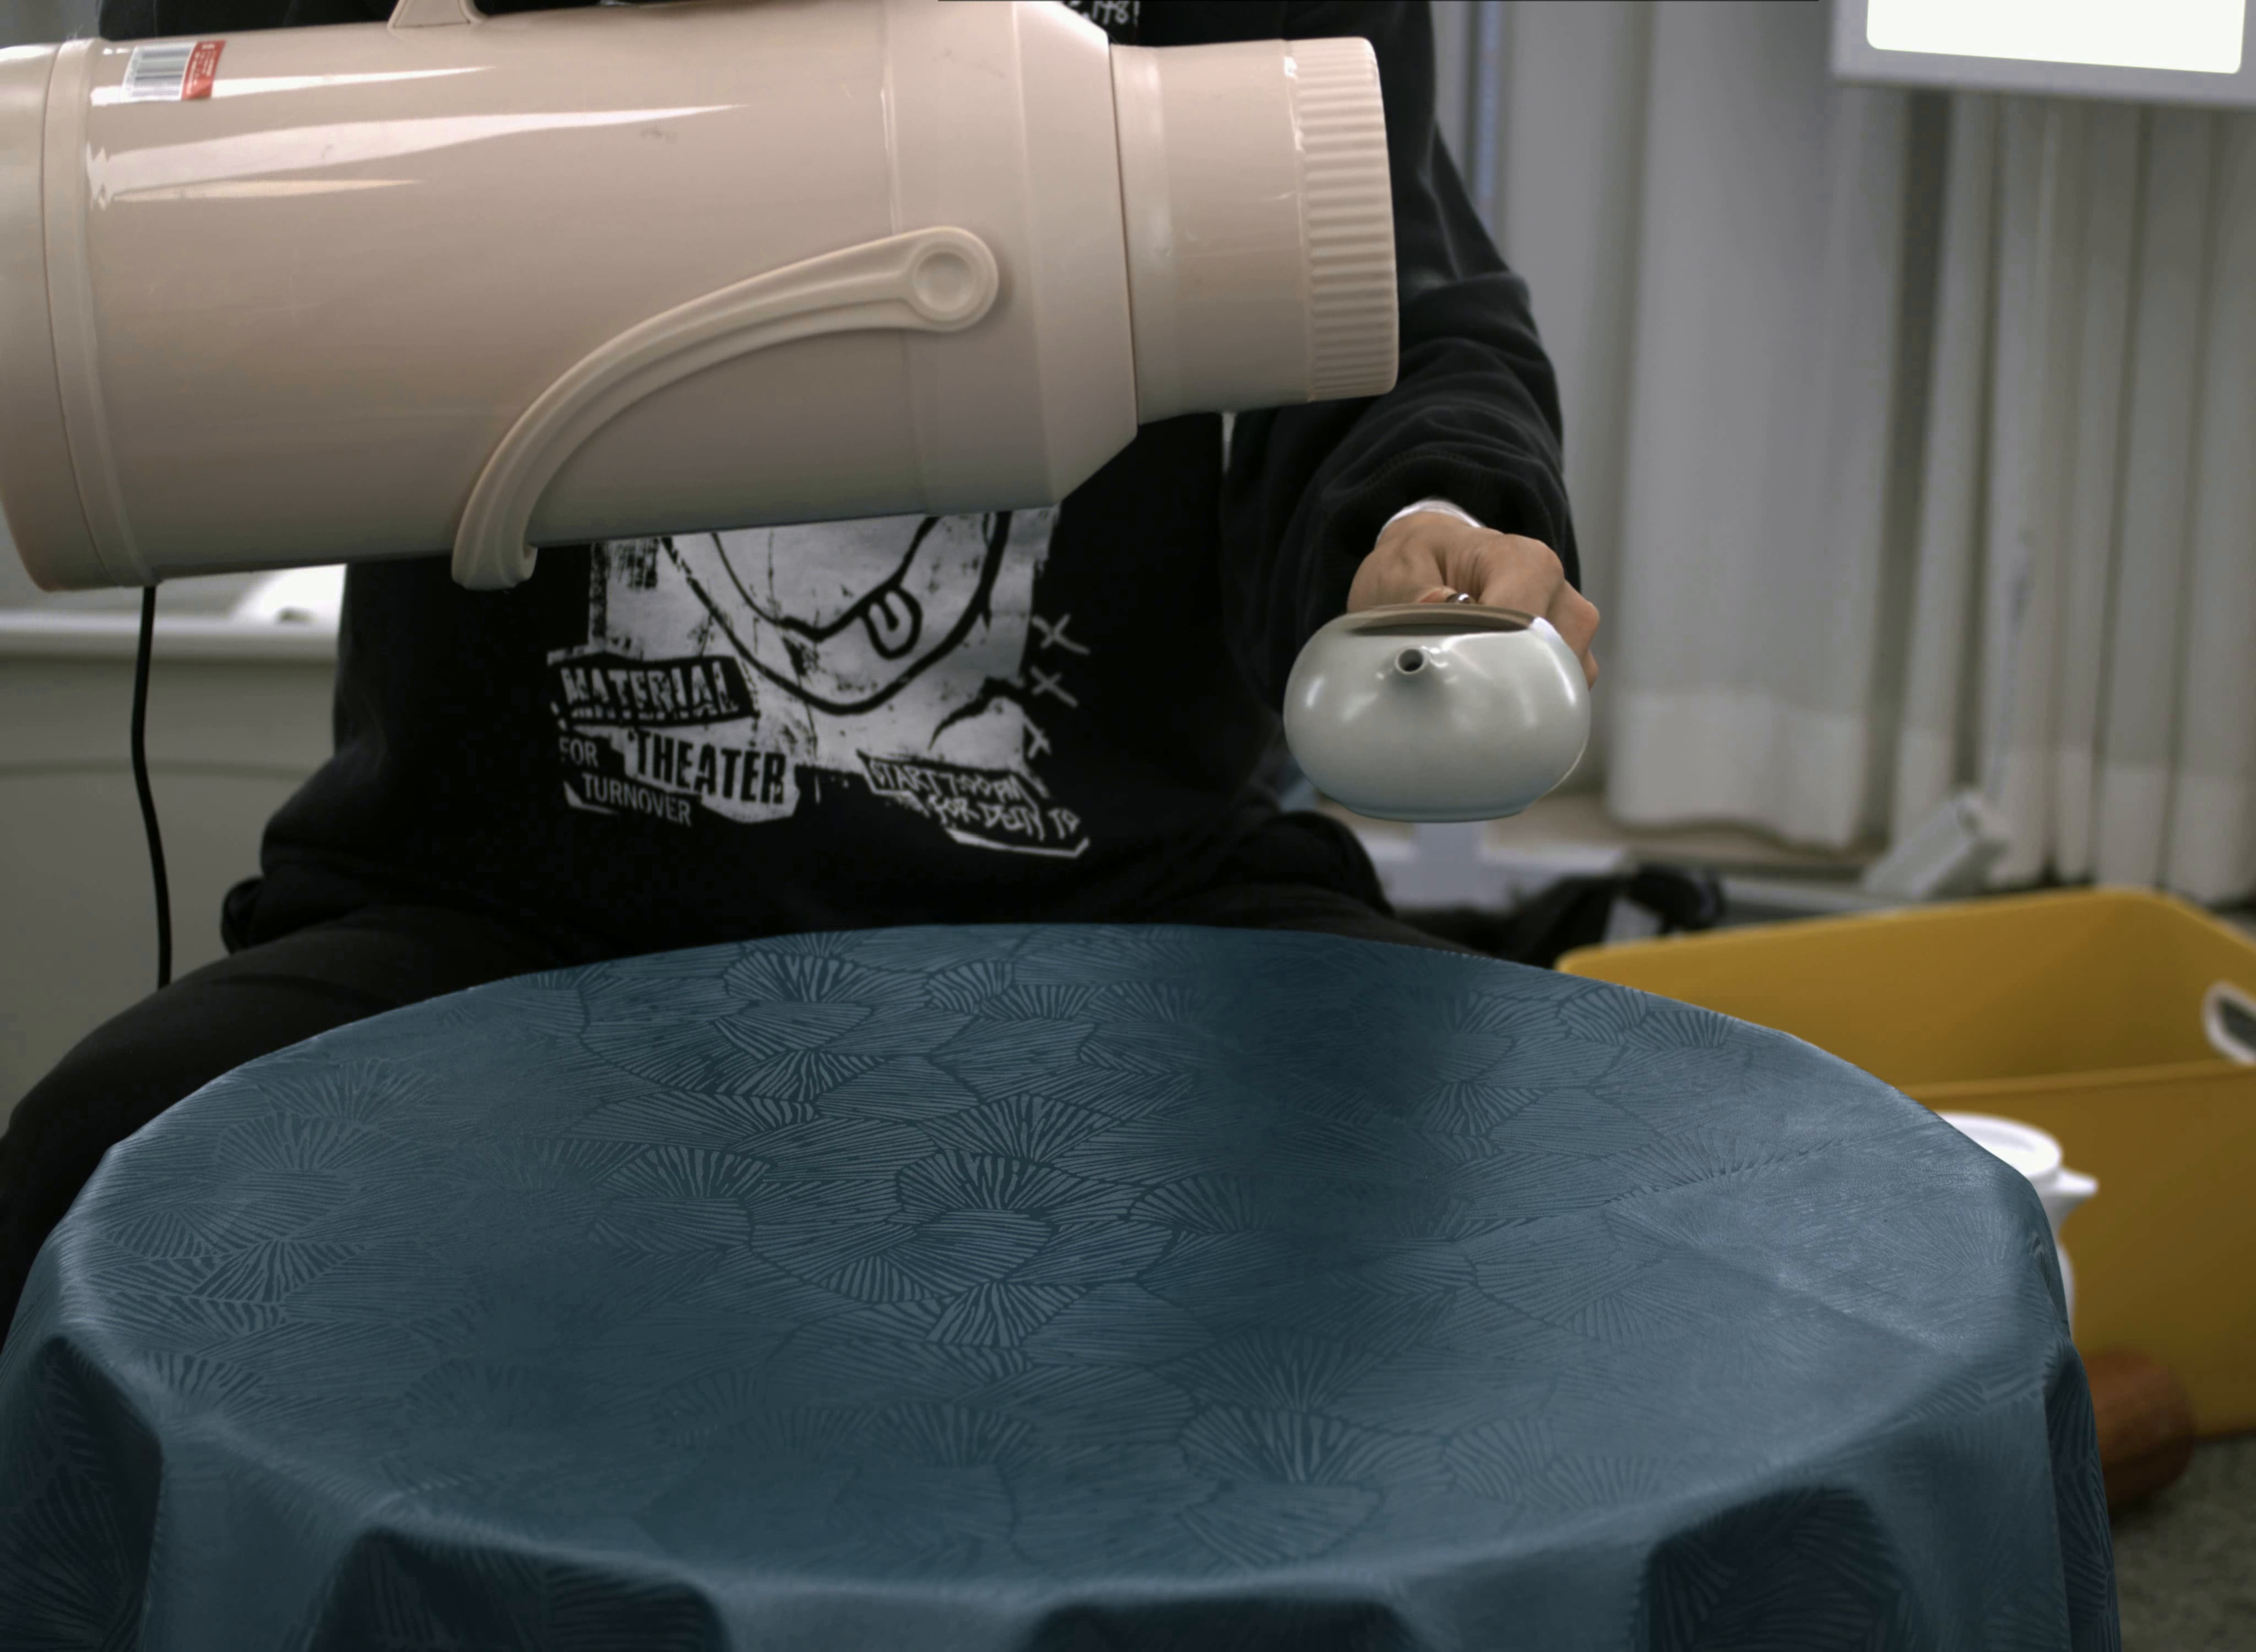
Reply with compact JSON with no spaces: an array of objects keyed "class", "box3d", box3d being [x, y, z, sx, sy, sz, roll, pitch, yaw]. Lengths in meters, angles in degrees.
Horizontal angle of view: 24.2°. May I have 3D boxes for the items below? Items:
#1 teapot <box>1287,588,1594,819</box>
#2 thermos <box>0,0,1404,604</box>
[{"class":"teapot","box3d":[0.095,-0.038,1.578,0.091,0.060,0.128,-2,11,10]},{"class":"thermos","box3d":[-0.127,-0.176,1.529,0.405,0.209,0.174,-5,14,1]}]
